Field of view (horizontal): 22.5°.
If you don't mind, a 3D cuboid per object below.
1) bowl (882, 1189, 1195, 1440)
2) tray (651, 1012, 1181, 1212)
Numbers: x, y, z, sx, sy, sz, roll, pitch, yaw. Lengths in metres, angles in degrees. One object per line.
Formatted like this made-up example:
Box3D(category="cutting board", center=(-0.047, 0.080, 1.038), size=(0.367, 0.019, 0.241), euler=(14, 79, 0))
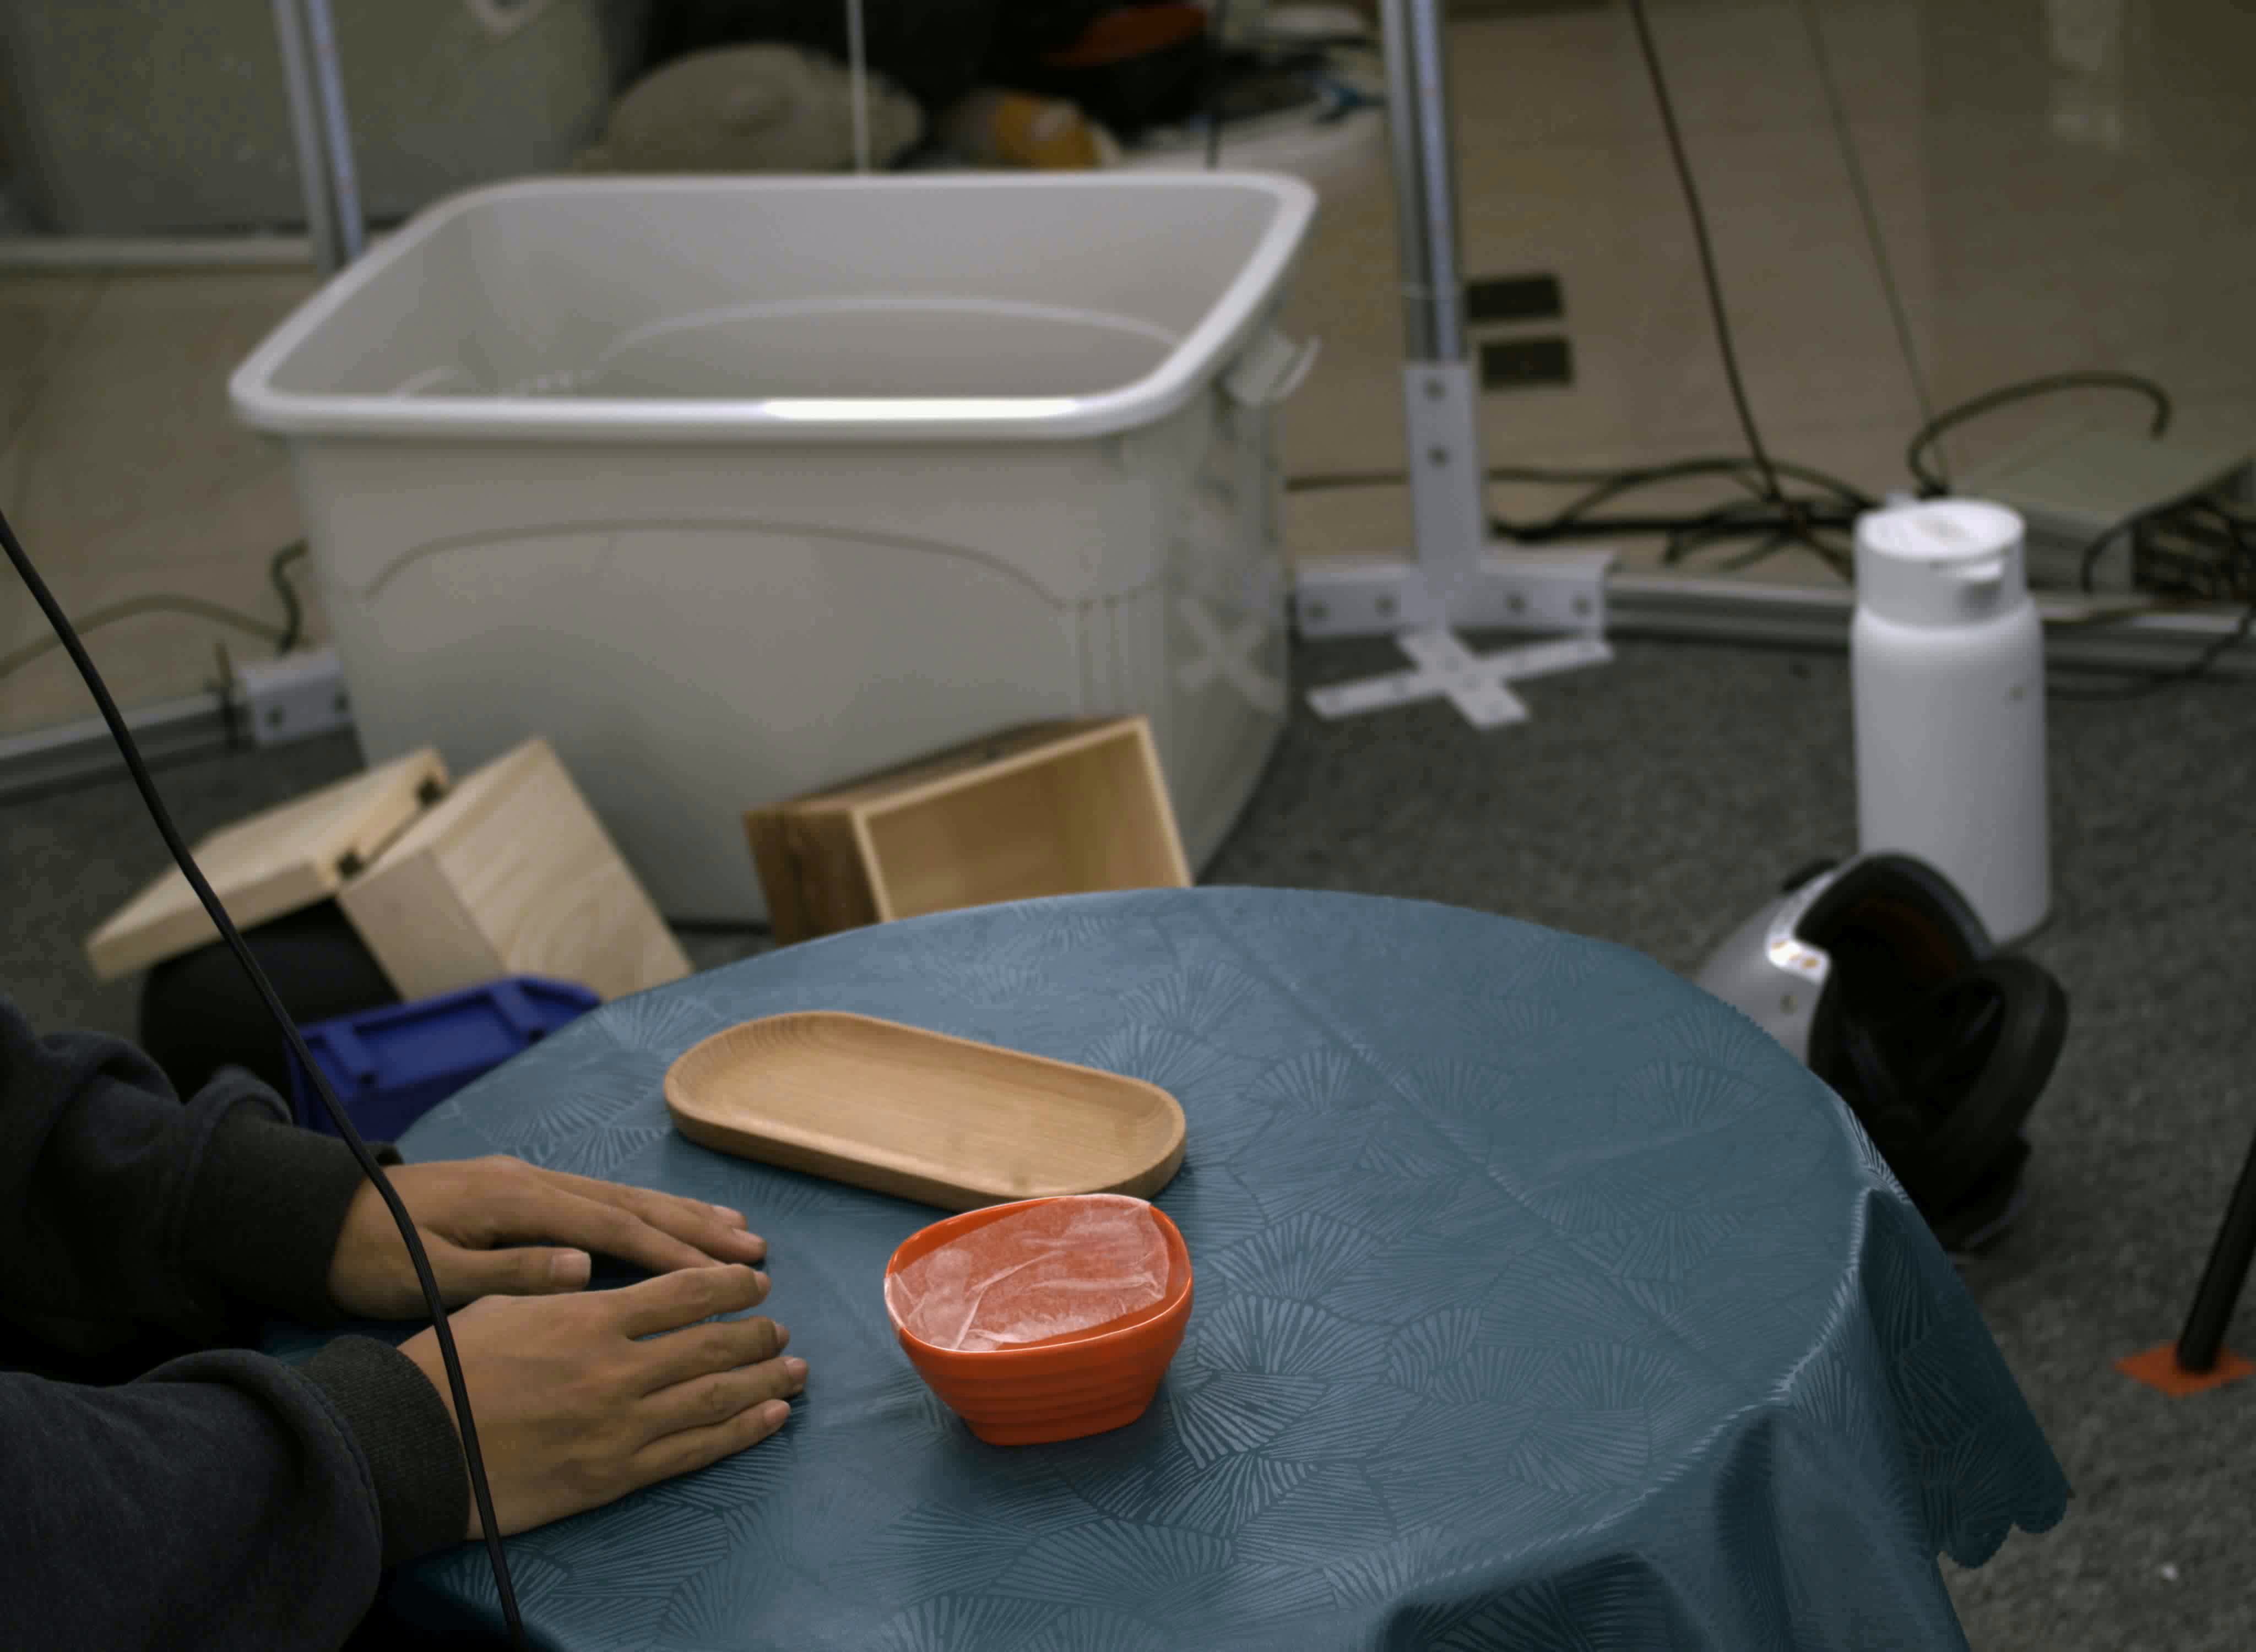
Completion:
Box3D(category="bowl", center=(-0.030, 0.177, 2.006), size=(0.119, 0.052, 0.117), euler=(-4, 26, 2))
Box3D(category="tray", center=(-0.084, 0.113, 2.204), size=(0.230, 0.020, 0.100), euler=(10, 29, 33))
